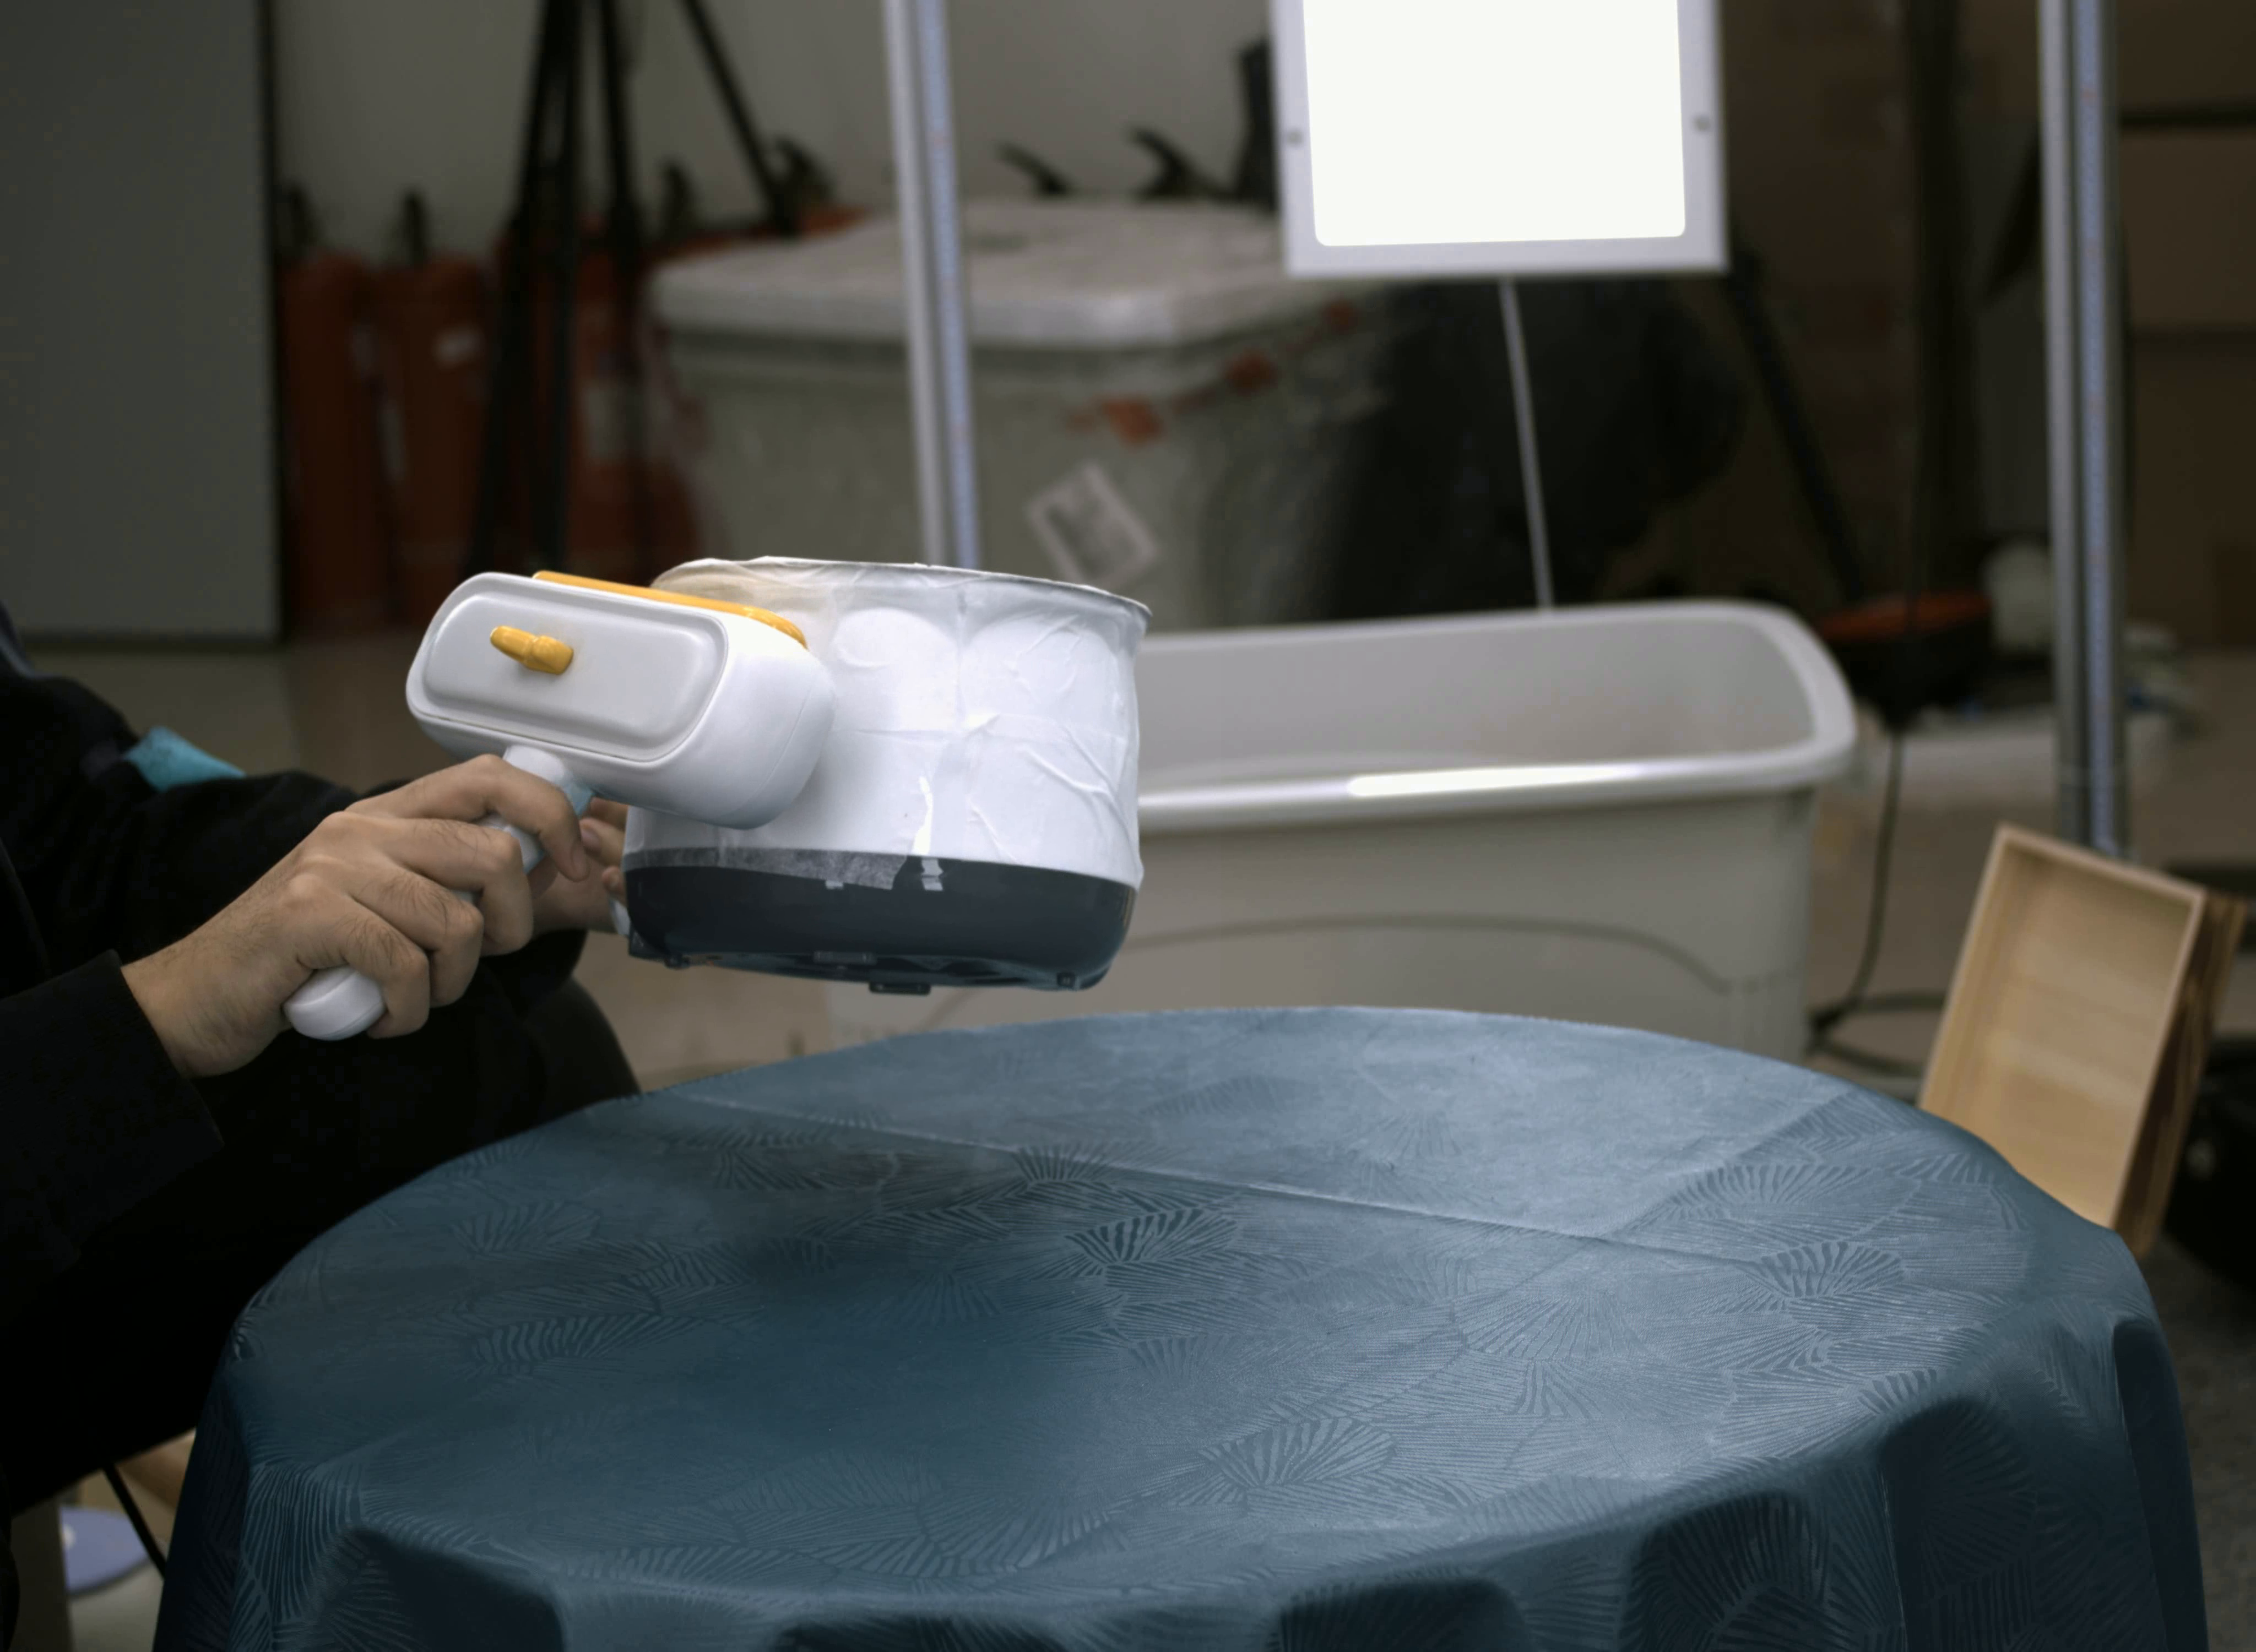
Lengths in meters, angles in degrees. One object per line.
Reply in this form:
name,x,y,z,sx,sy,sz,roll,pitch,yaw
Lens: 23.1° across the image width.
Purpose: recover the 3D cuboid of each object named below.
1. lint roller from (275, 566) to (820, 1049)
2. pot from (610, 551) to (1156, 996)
lint roller,-0.206,0.000,1.797,0.197,0.073,0.191,10,64,47
pot,-0.101,-0.015,1.909,0.174,0.137,0.239,10,-7,-39
